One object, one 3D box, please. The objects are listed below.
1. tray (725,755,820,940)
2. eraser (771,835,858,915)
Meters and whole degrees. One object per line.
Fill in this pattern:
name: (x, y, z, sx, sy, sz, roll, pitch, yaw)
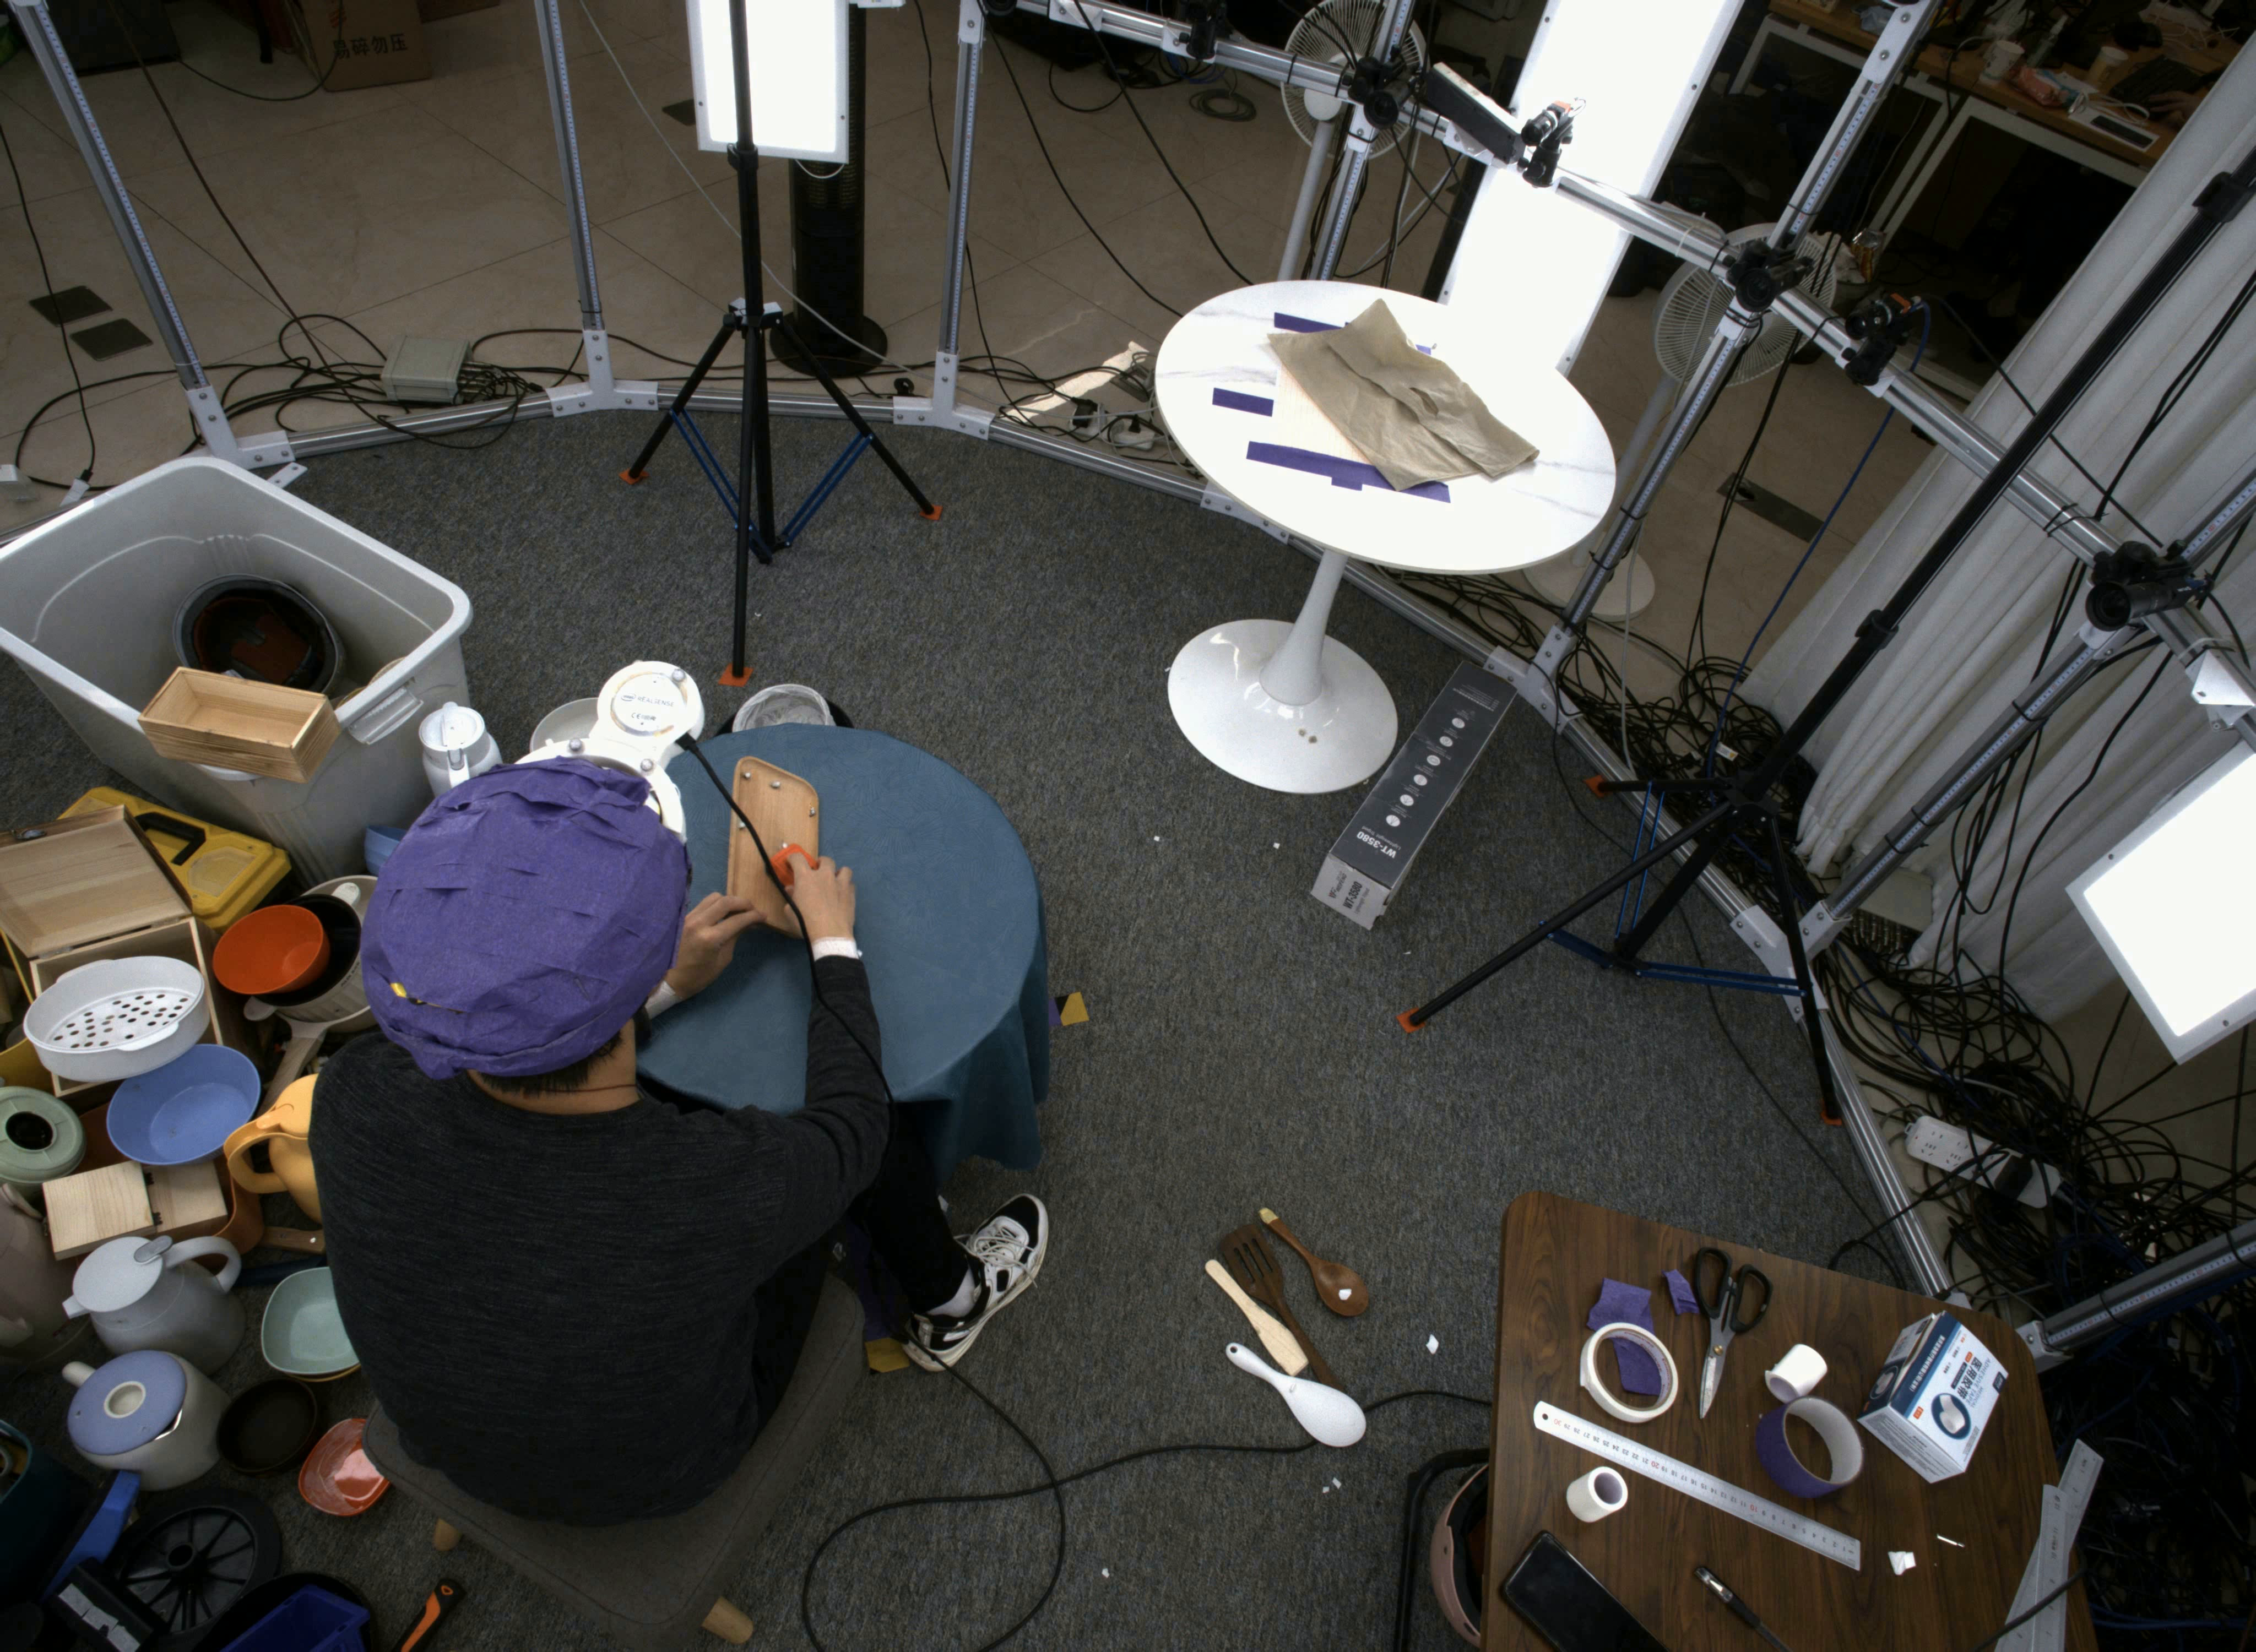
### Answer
tray: (-0.449, 0.024, 1.641, 0.134, 0.022, 0.245, 26, 42, -38)
eraser: (-0.398, 0.060, 1.647, 0.111, 0.023, 0.058, 38, 34, -23)
